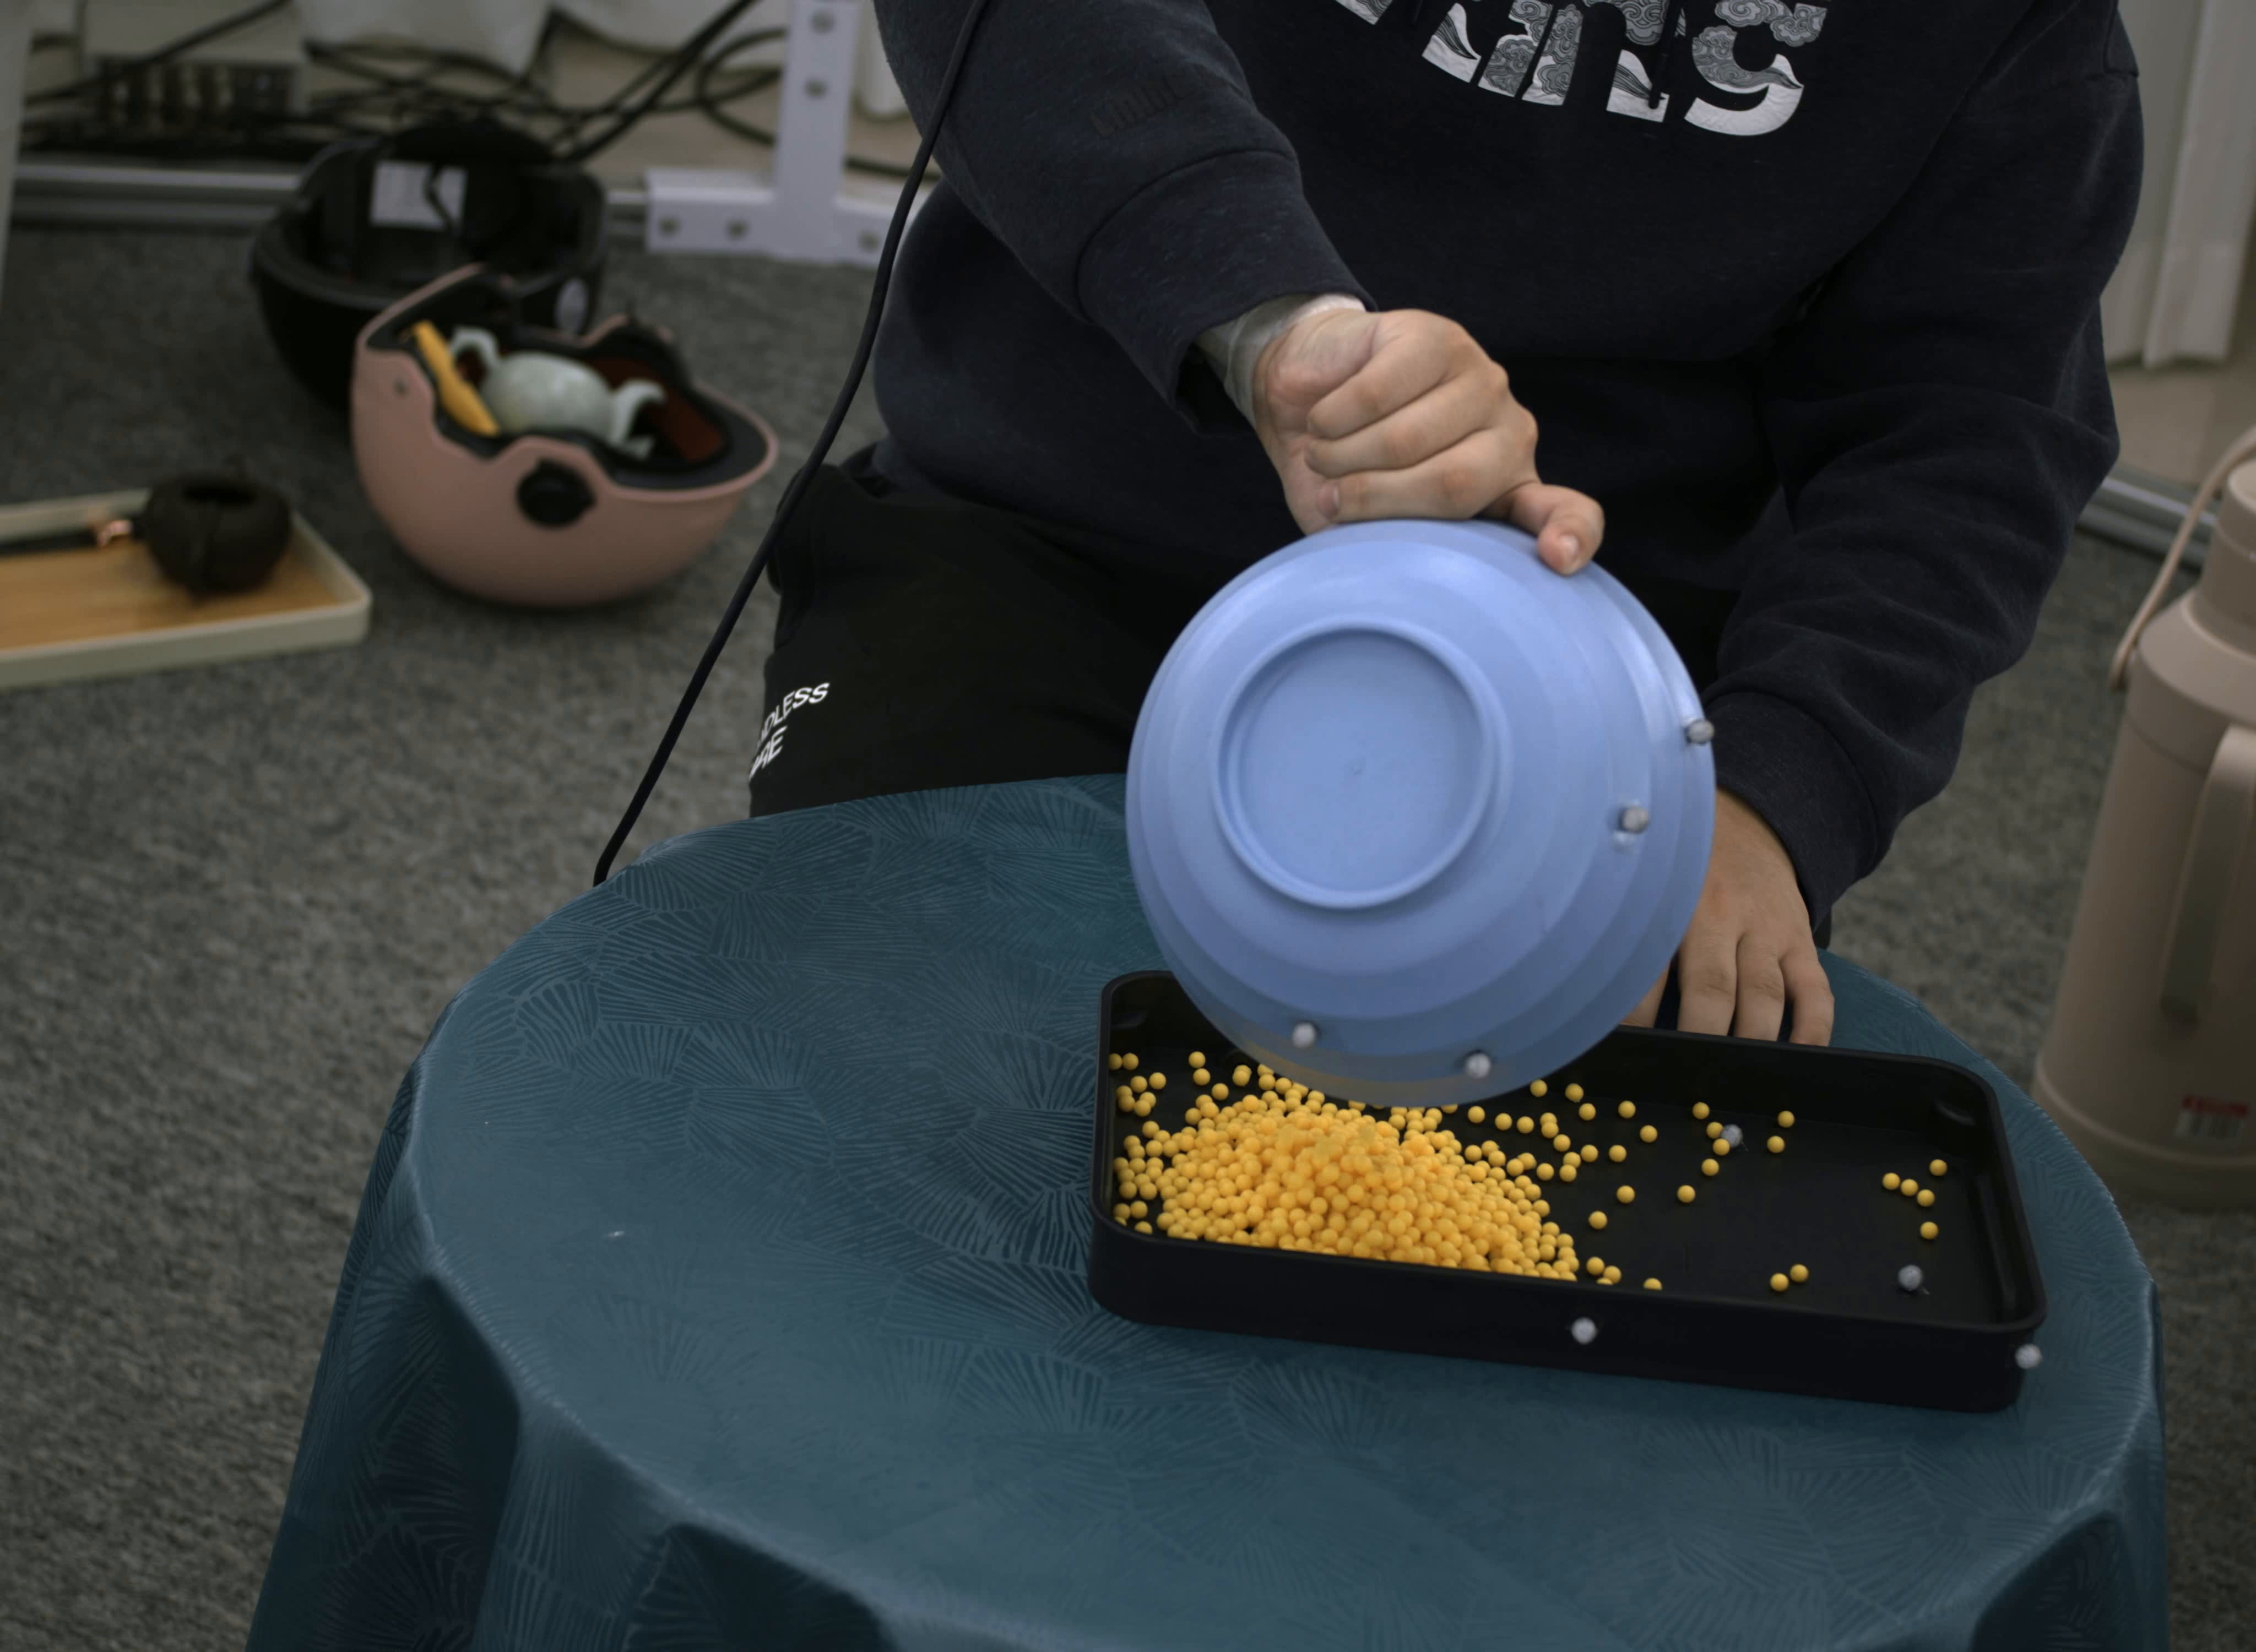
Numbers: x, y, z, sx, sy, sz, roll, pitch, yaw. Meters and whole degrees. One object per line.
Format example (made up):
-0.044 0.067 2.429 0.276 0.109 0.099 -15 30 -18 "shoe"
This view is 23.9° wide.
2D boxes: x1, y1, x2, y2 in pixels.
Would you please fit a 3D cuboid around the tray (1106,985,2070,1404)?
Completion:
0.149 0.123 1.806 0.317 0.037 0.185 5 26 -2 "tray"

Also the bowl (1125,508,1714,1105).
0.081 -0.014 1.695 0.197 0.197 0.095 18 -3 21 "bowl"
